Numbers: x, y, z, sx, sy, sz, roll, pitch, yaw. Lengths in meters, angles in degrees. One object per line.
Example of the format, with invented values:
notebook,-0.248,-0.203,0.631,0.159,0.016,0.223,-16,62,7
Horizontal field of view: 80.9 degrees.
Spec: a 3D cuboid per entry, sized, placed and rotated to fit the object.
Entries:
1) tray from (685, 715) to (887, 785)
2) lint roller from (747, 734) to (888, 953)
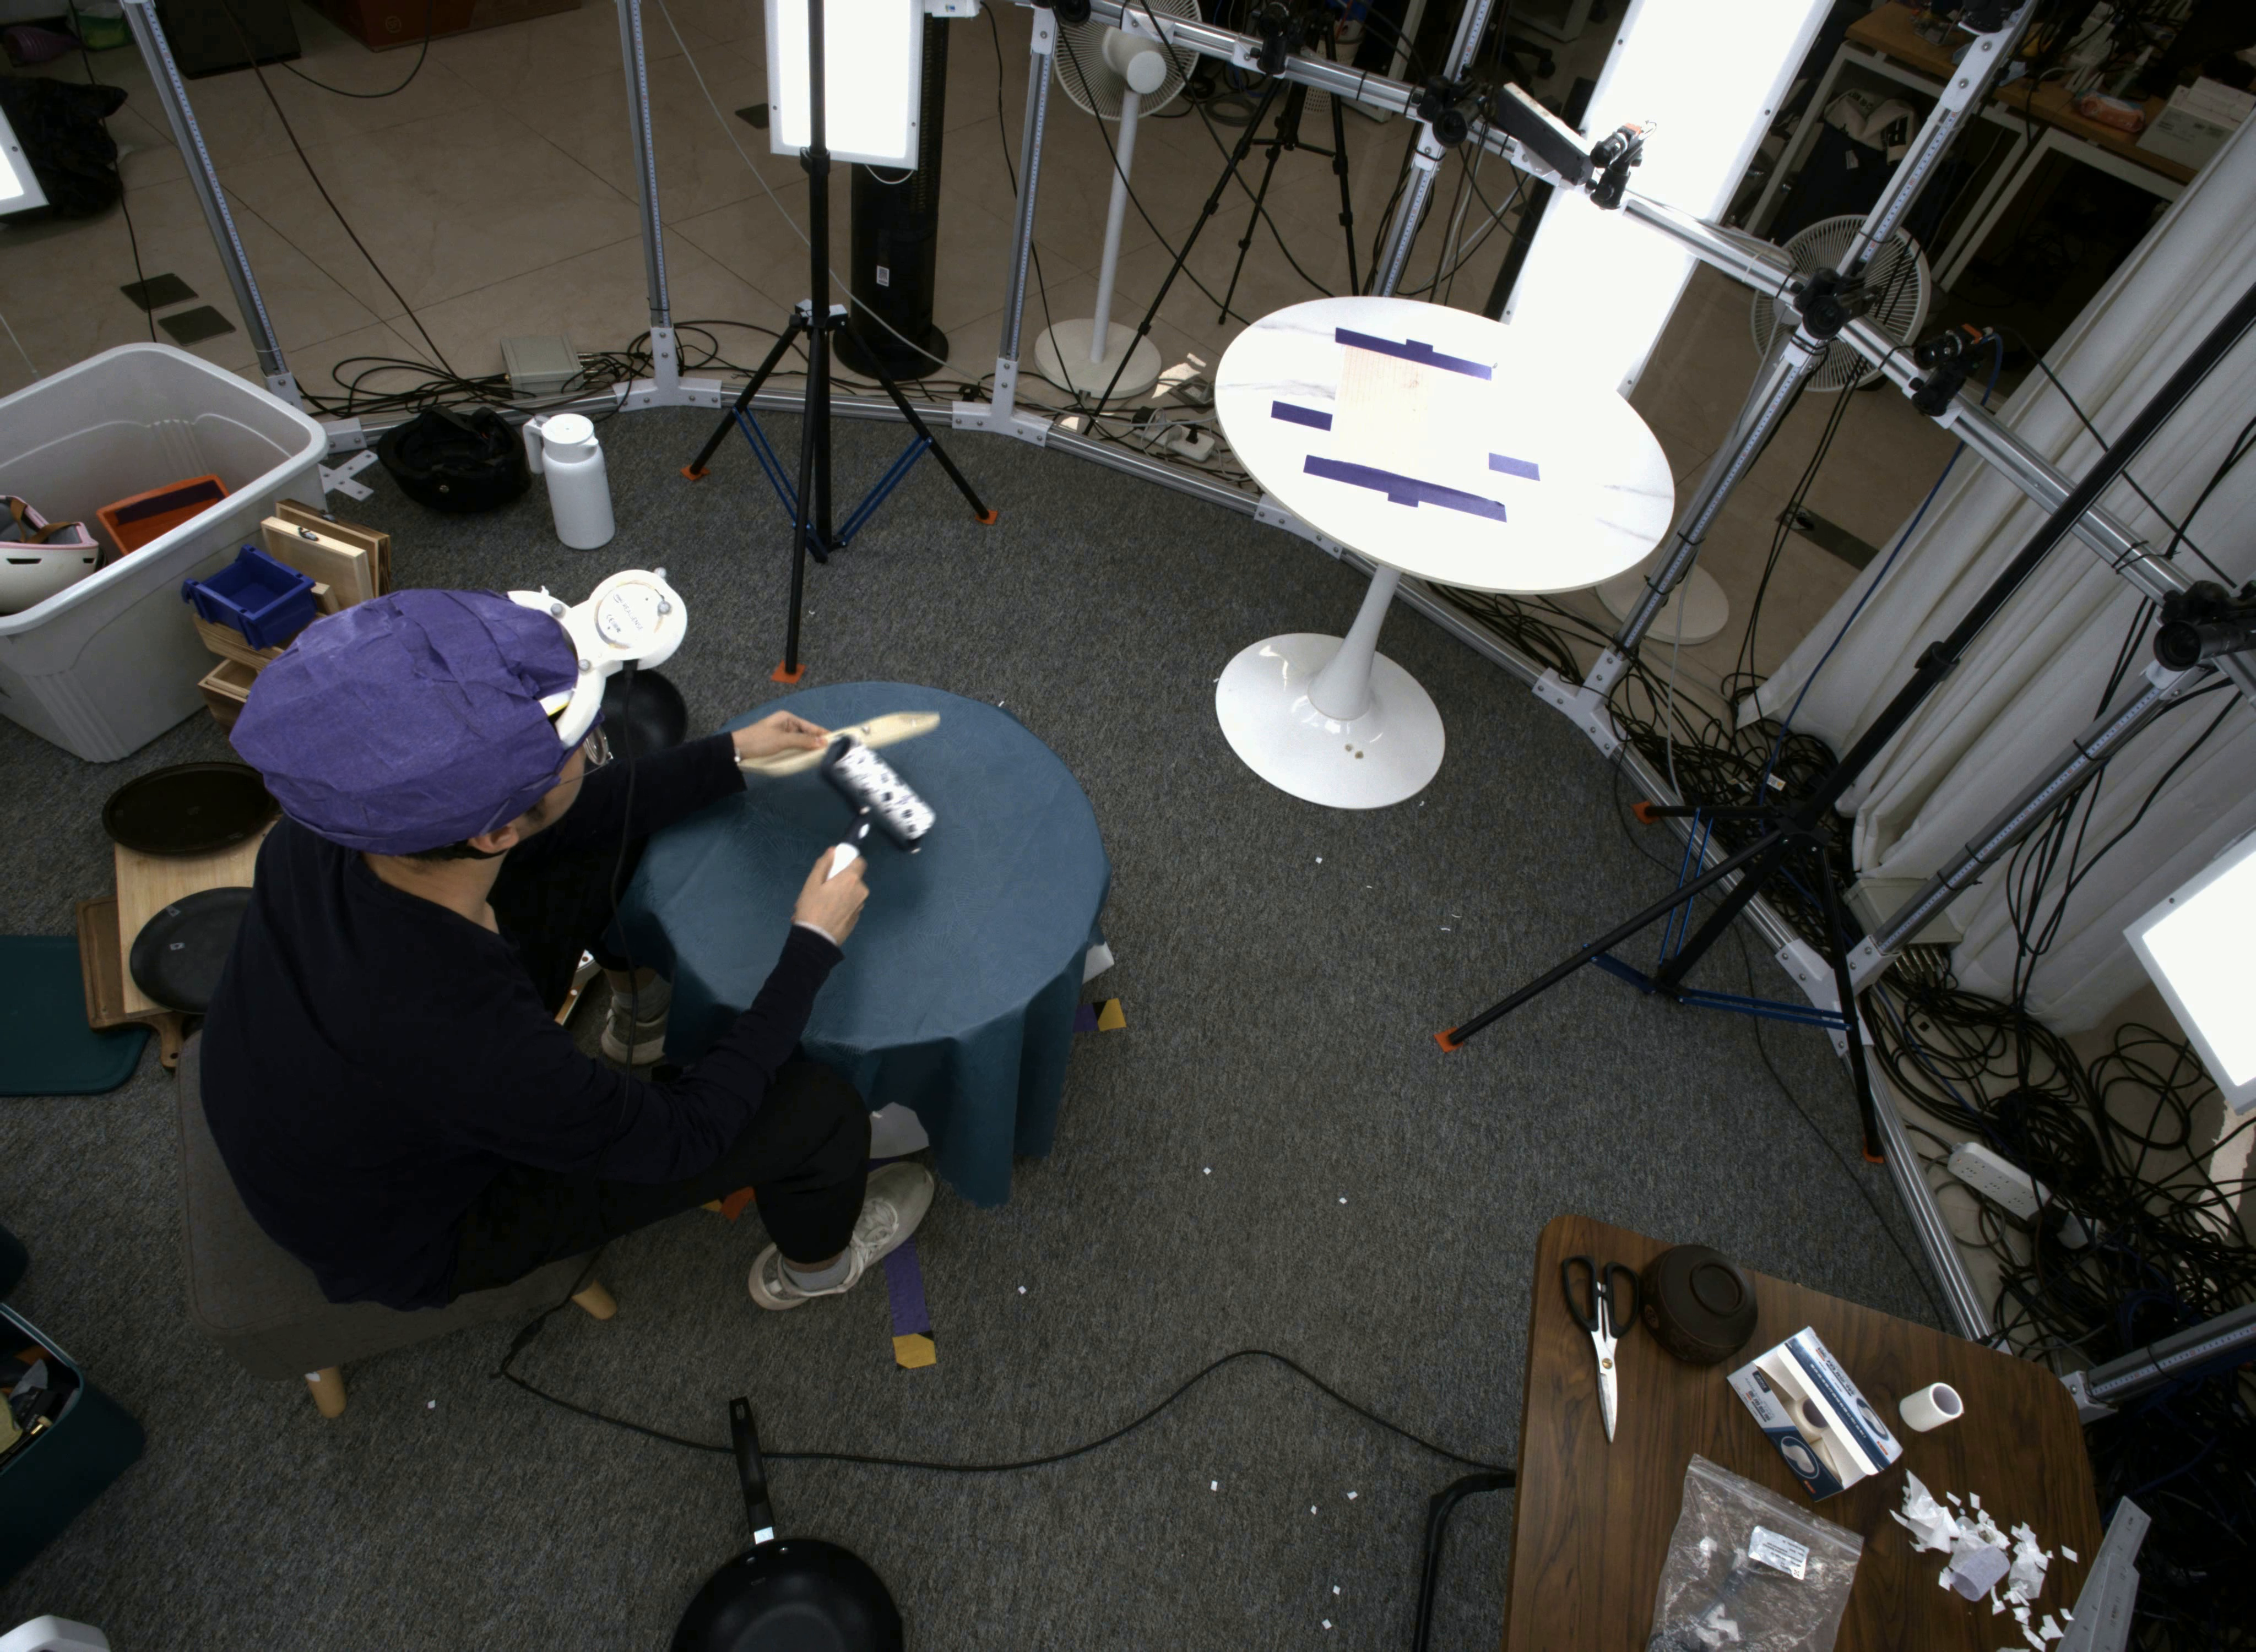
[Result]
tray,-0.432,-0.097,1.638,0.241,0.166,0.018,-23,106,-31
lint roller,-0.387,0.038,1.541,0.049,0.183,0.245,0,58,33
